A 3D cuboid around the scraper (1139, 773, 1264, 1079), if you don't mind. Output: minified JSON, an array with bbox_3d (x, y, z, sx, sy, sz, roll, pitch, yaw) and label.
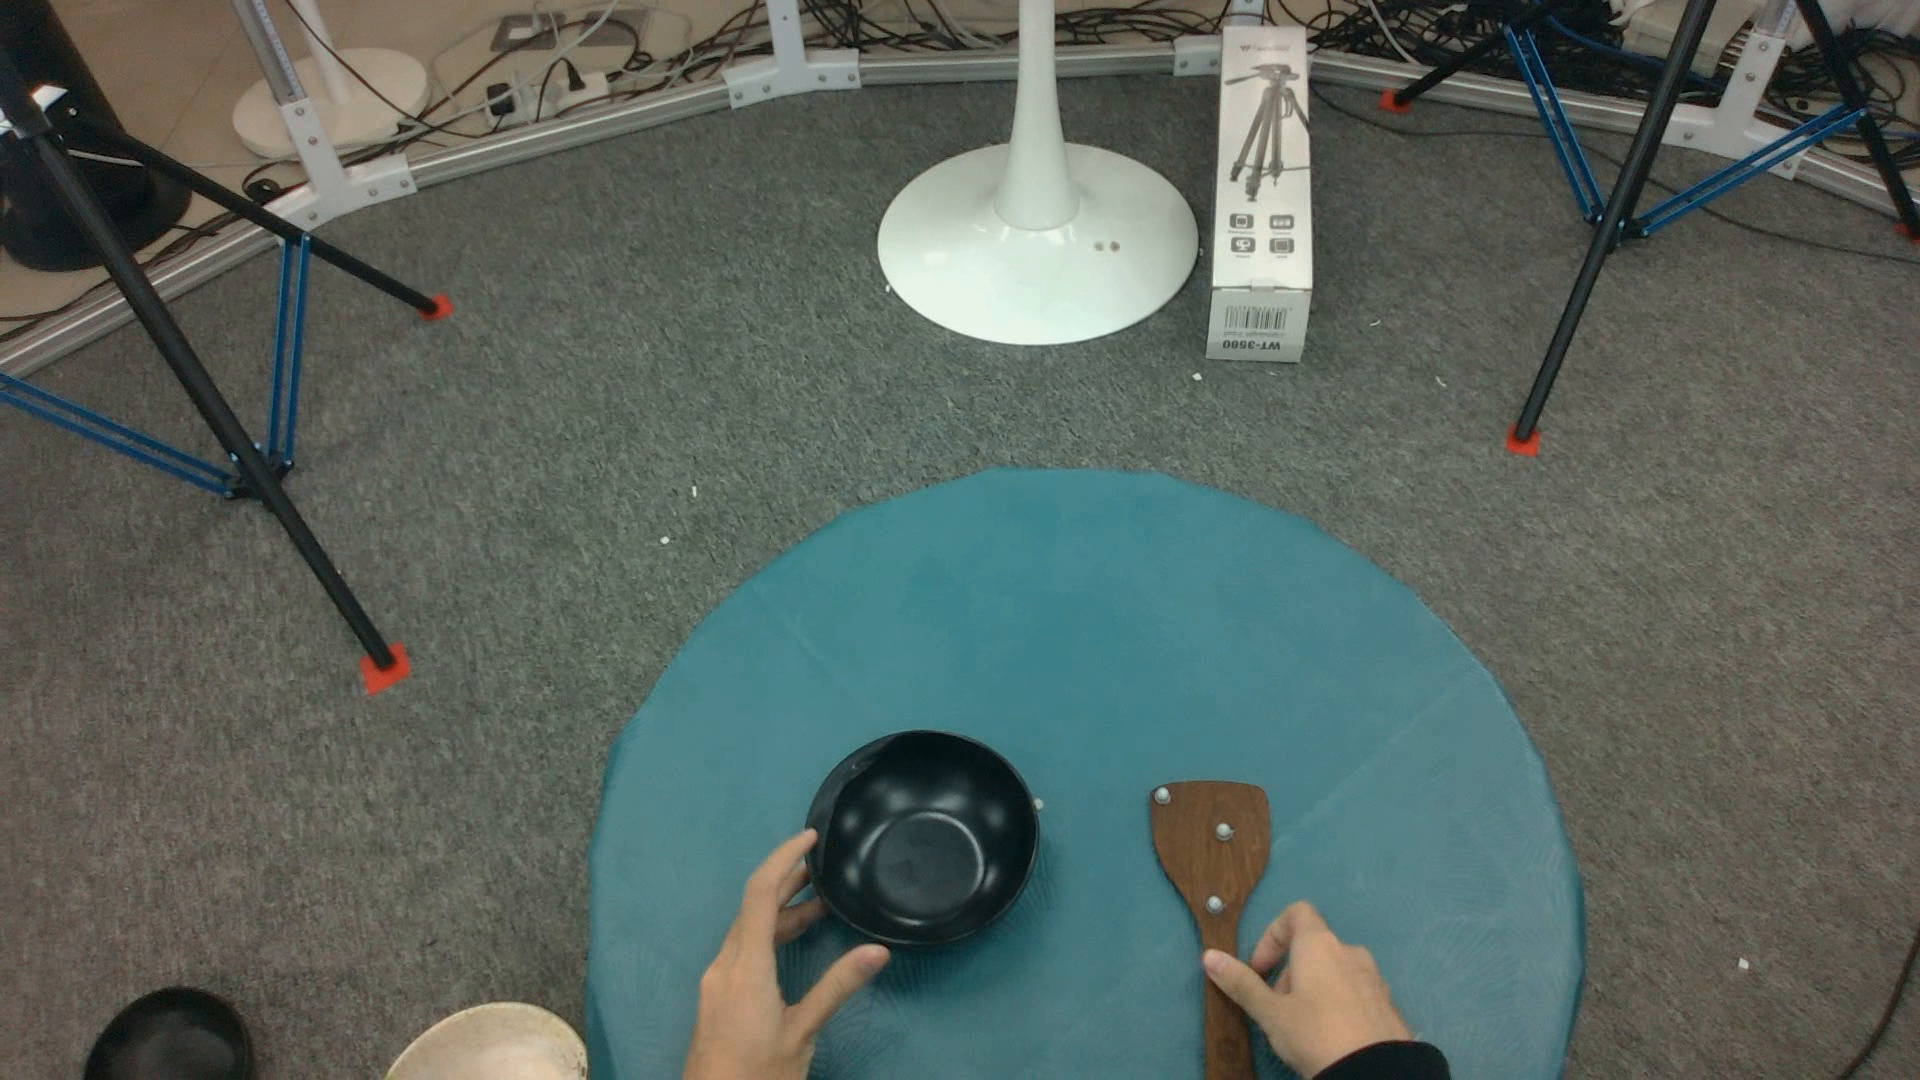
[{"bbox_3d":[0.145,0.228,0.795,0.076,0.011,0.212,0,49,4],"label":"scraper"}]

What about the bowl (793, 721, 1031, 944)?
[{"bbox_3d":[-0.029,0.180,0.819,0.140,0.049,0.140,1,51,-1],"label":"bowl"}]
